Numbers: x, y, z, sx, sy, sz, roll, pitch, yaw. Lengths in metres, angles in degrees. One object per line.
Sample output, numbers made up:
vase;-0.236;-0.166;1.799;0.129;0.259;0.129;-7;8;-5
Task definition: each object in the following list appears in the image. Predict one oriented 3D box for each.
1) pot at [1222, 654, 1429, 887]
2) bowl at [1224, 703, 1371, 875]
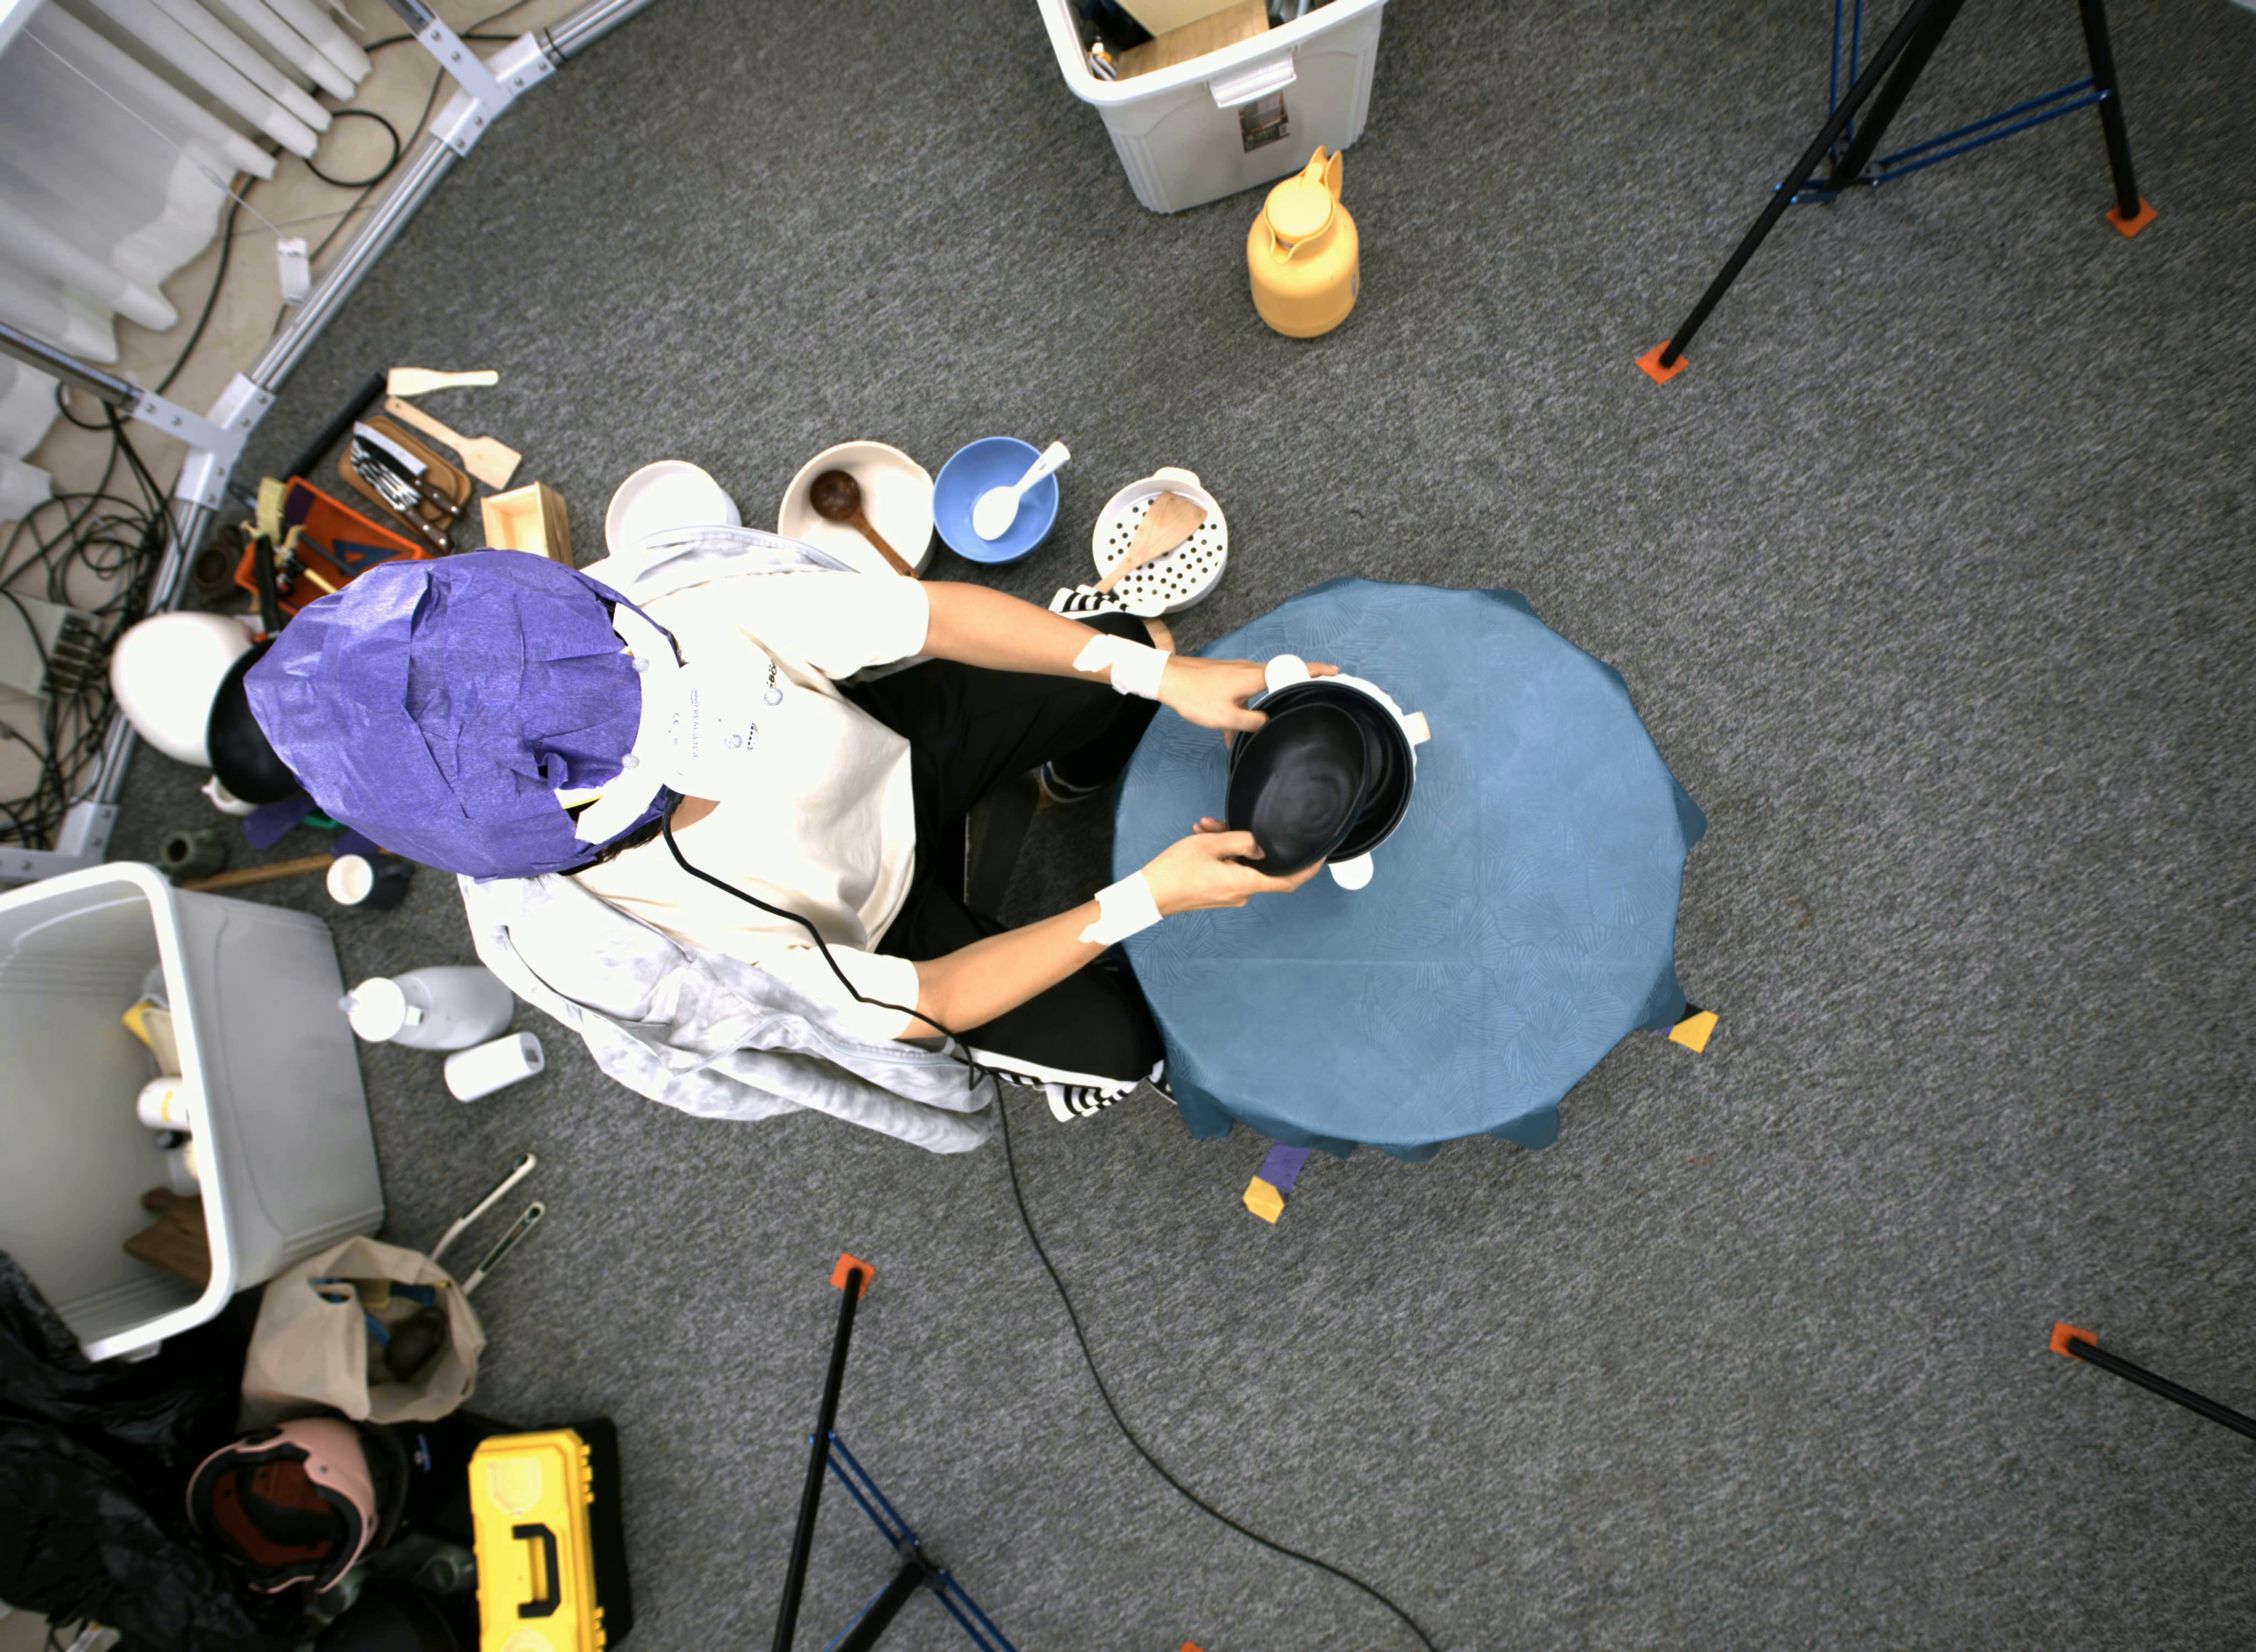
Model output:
pot;0.203;-0.069;1.387;0.193;0.140;0.242;-17;100;22
bowl;0.166;-0.027;1.281;0.137;0.067;0.170;24;87;39
